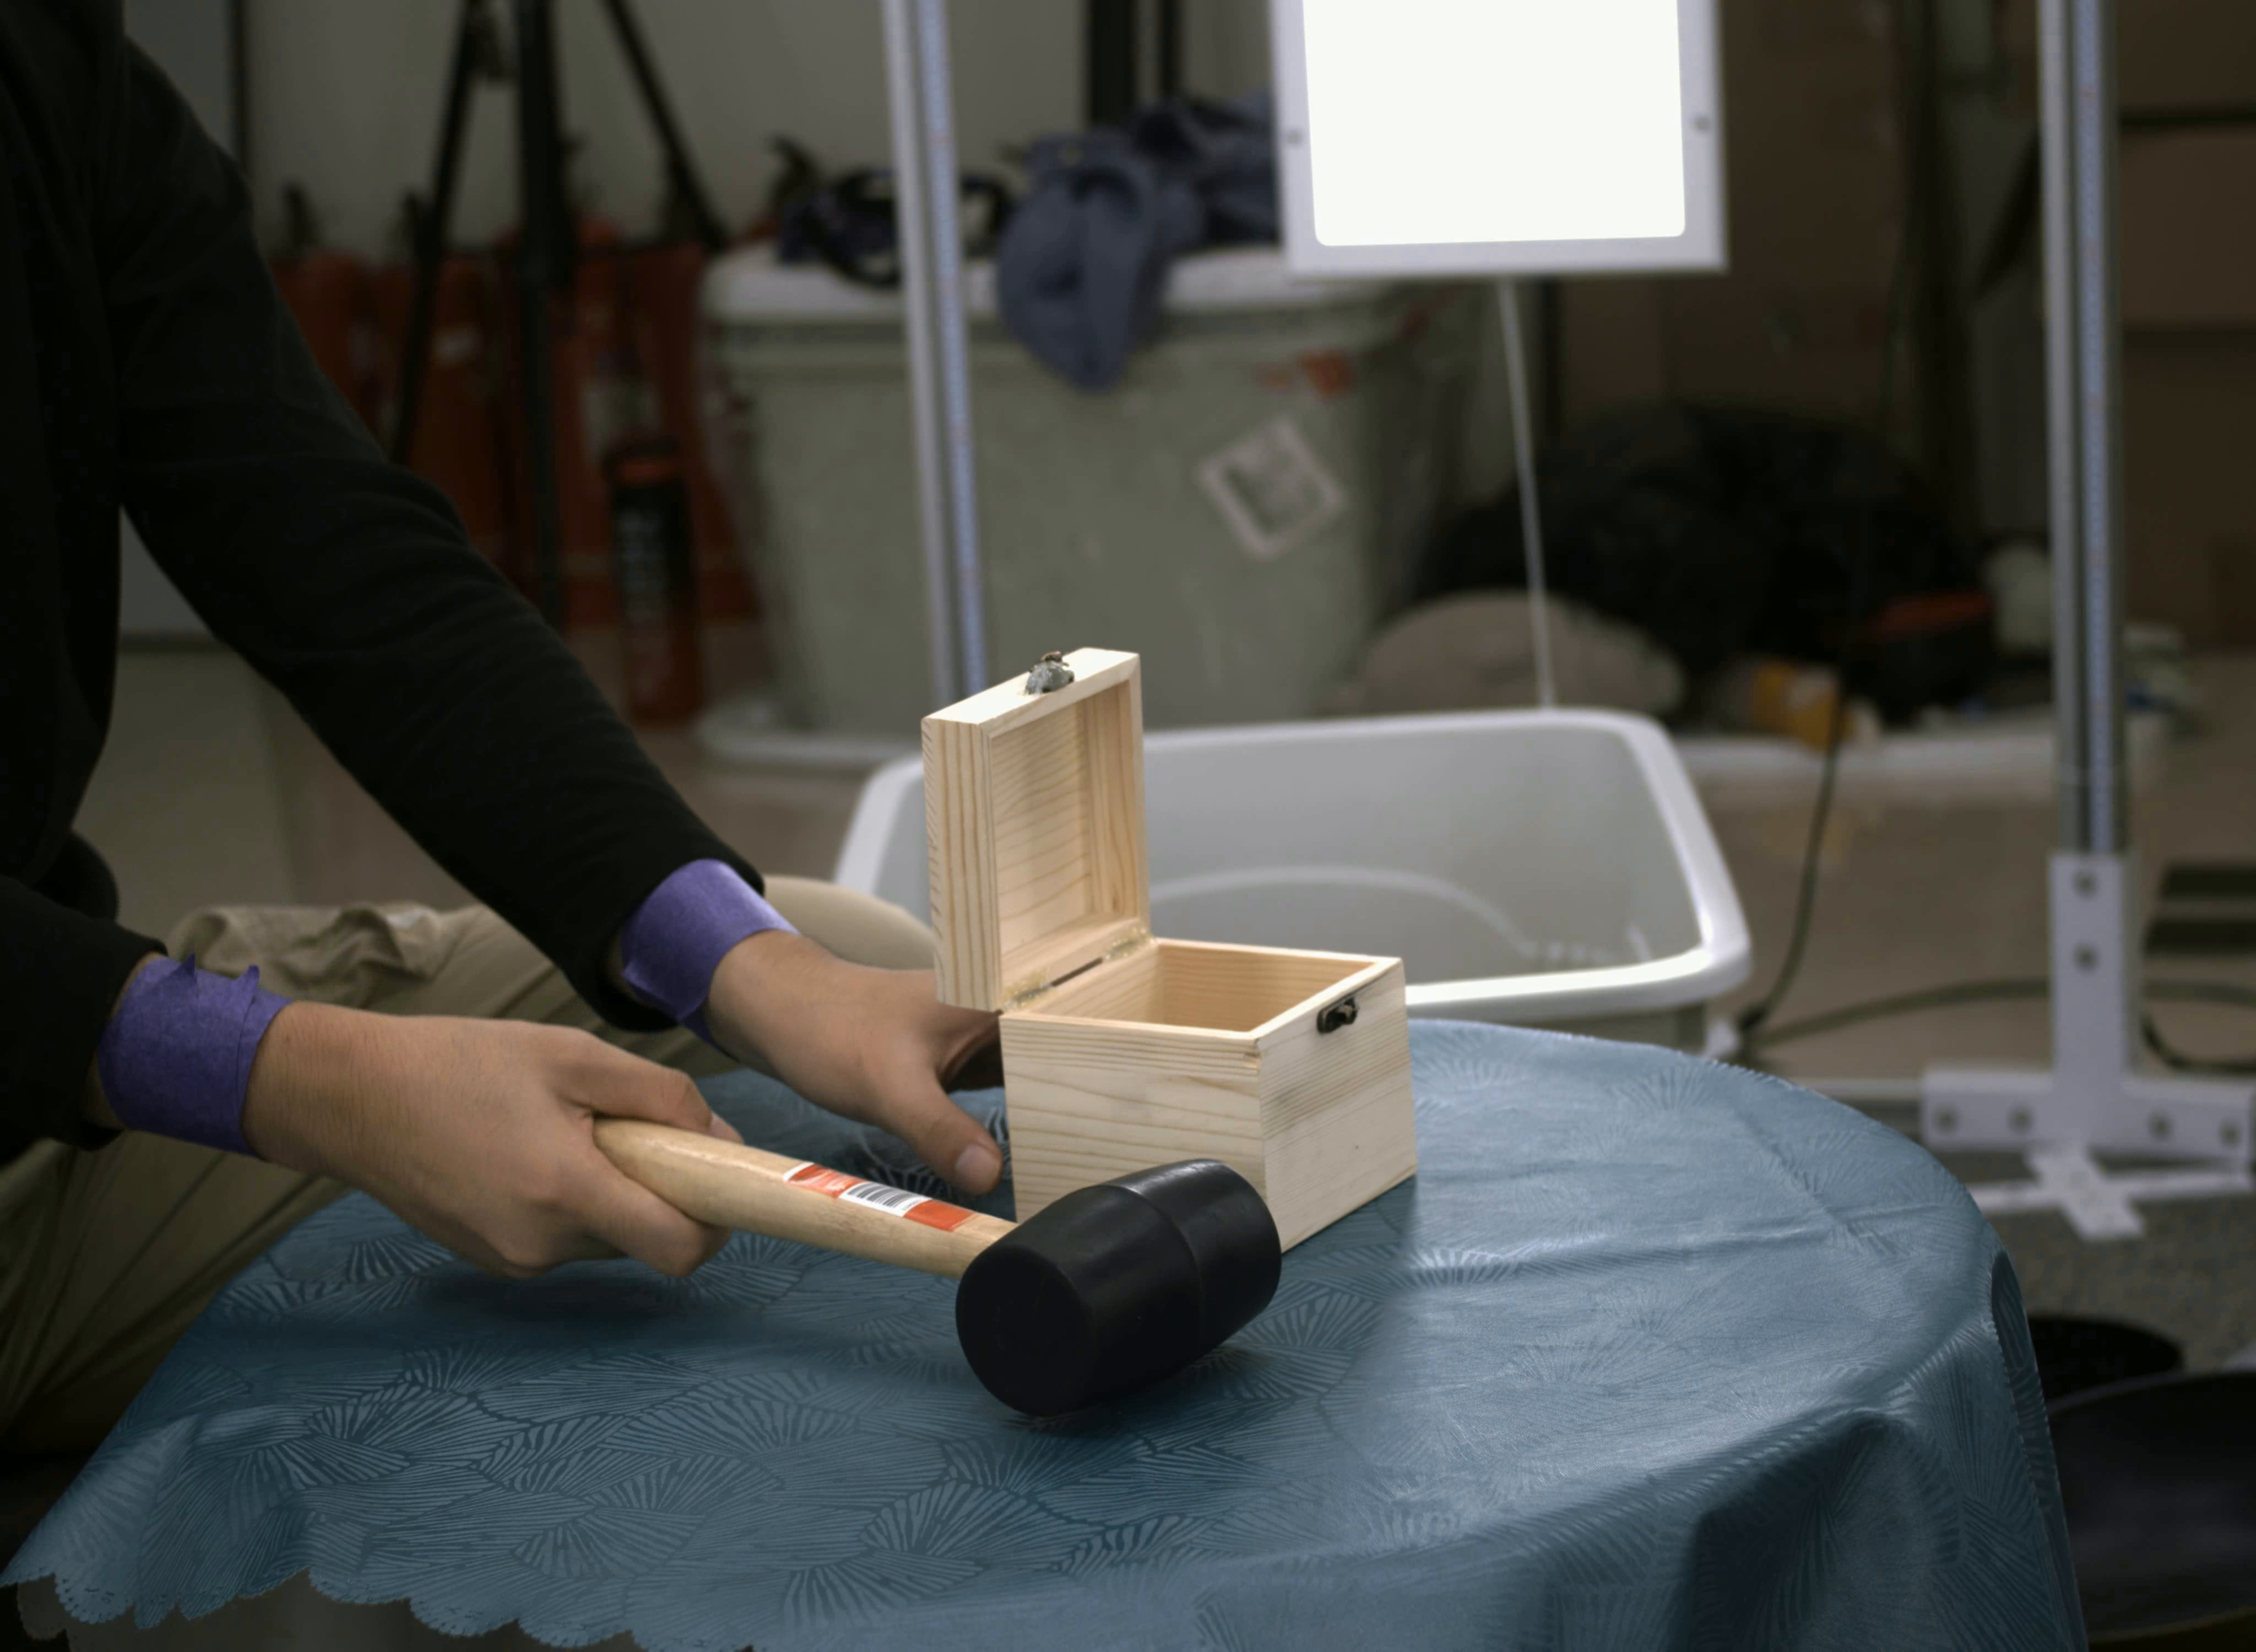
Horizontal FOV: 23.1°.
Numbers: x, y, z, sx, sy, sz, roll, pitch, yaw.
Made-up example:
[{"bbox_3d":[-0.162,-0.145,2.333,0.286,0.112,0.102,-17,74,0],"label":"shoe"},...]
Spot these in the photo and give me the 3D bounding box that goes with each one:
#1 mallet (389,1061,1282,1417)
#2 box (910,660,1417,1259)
[{"bbox_3d":[-0.110,0.113,1.781,0.345,0.064,0.099,16,20,38],"label":"mallet"},{"bbox_3d":[0.015,0.041,1.862,0.136,0.185,0.100,1,14,34],"label":"box"}]
